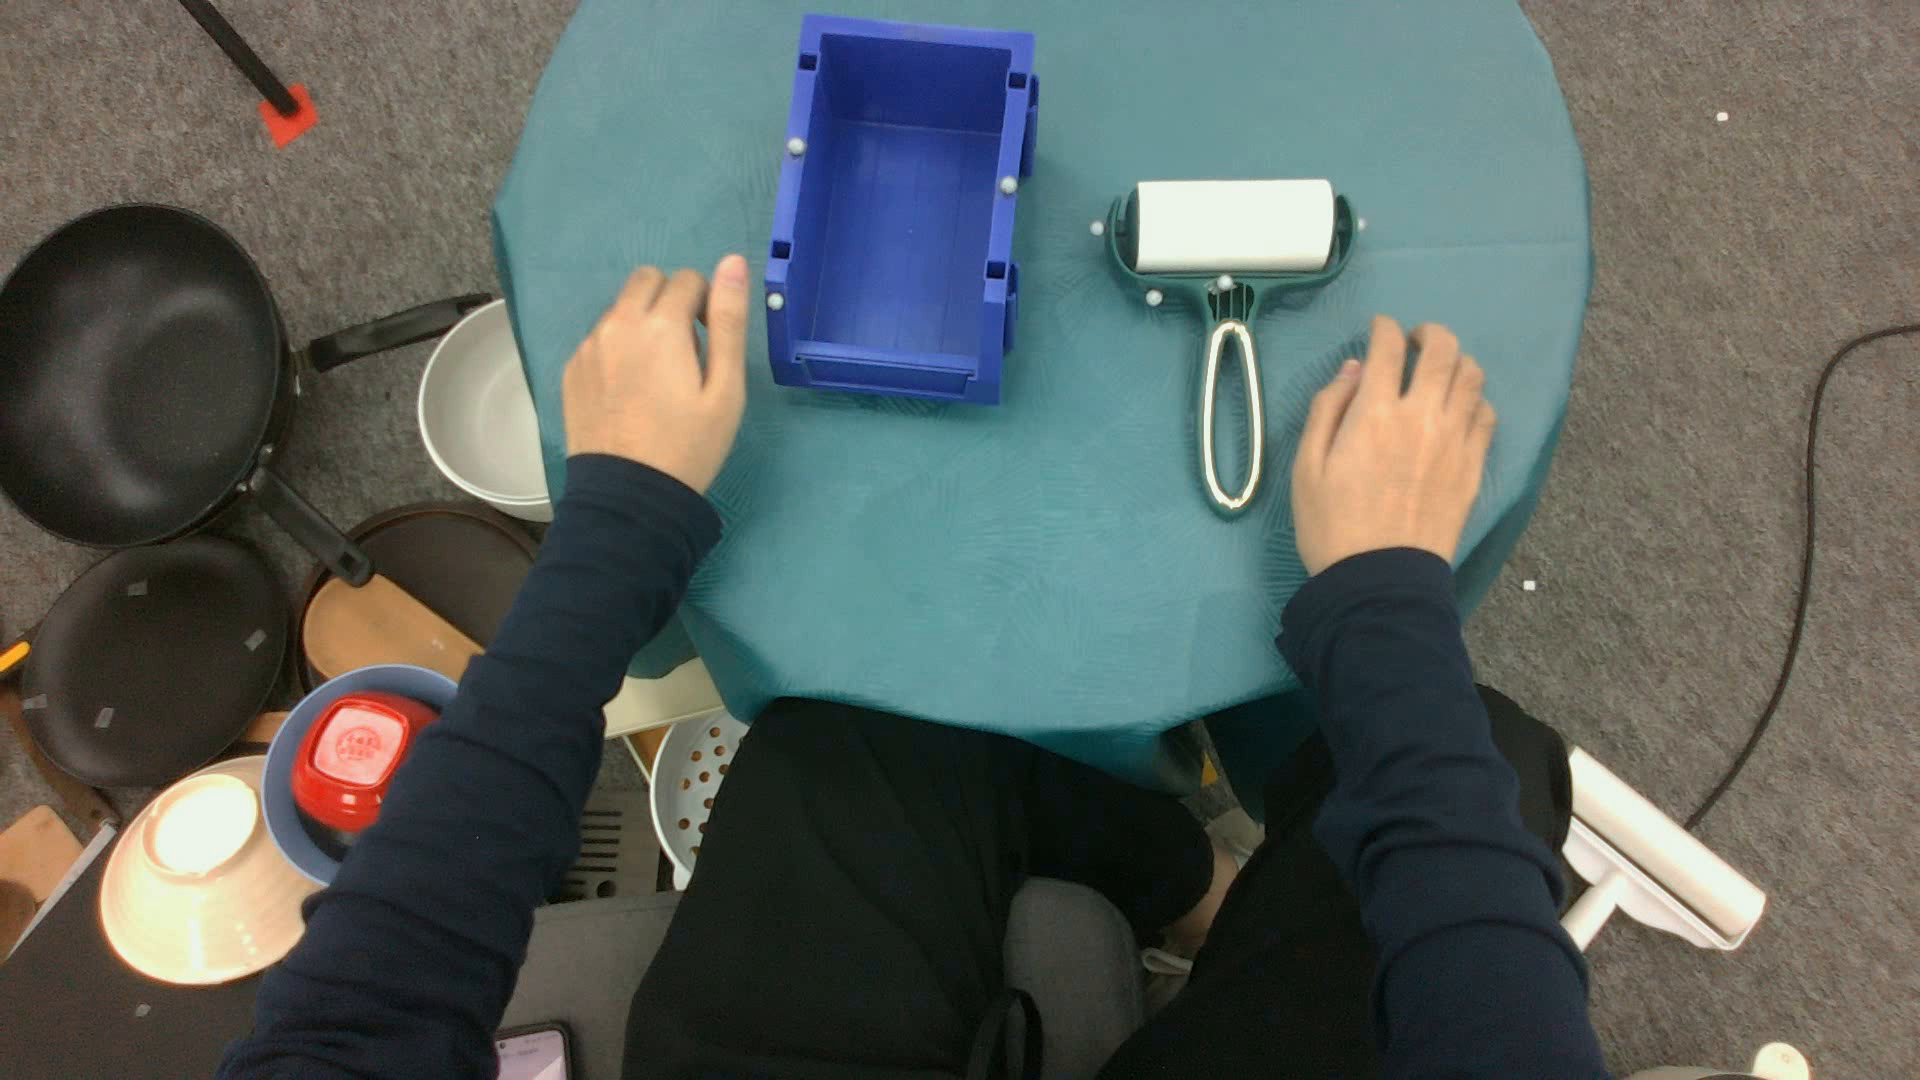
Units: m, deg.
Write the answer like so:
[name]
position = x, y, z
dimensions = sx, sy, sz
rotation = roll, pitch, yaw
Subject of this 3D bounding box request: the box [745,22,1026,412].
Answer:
[box]
position = -0.036, -0.164, 0.721
dimensions = 0.124, 0.081, 0.180
rotation = 7, 73, 1

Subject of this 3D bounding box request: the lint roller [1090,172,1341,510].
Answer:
[lint roller]
position = 0.135, -0.108, 0.728
dimensions = 0.134, 0.048, 0.180
rotation = 0, 80, 0
